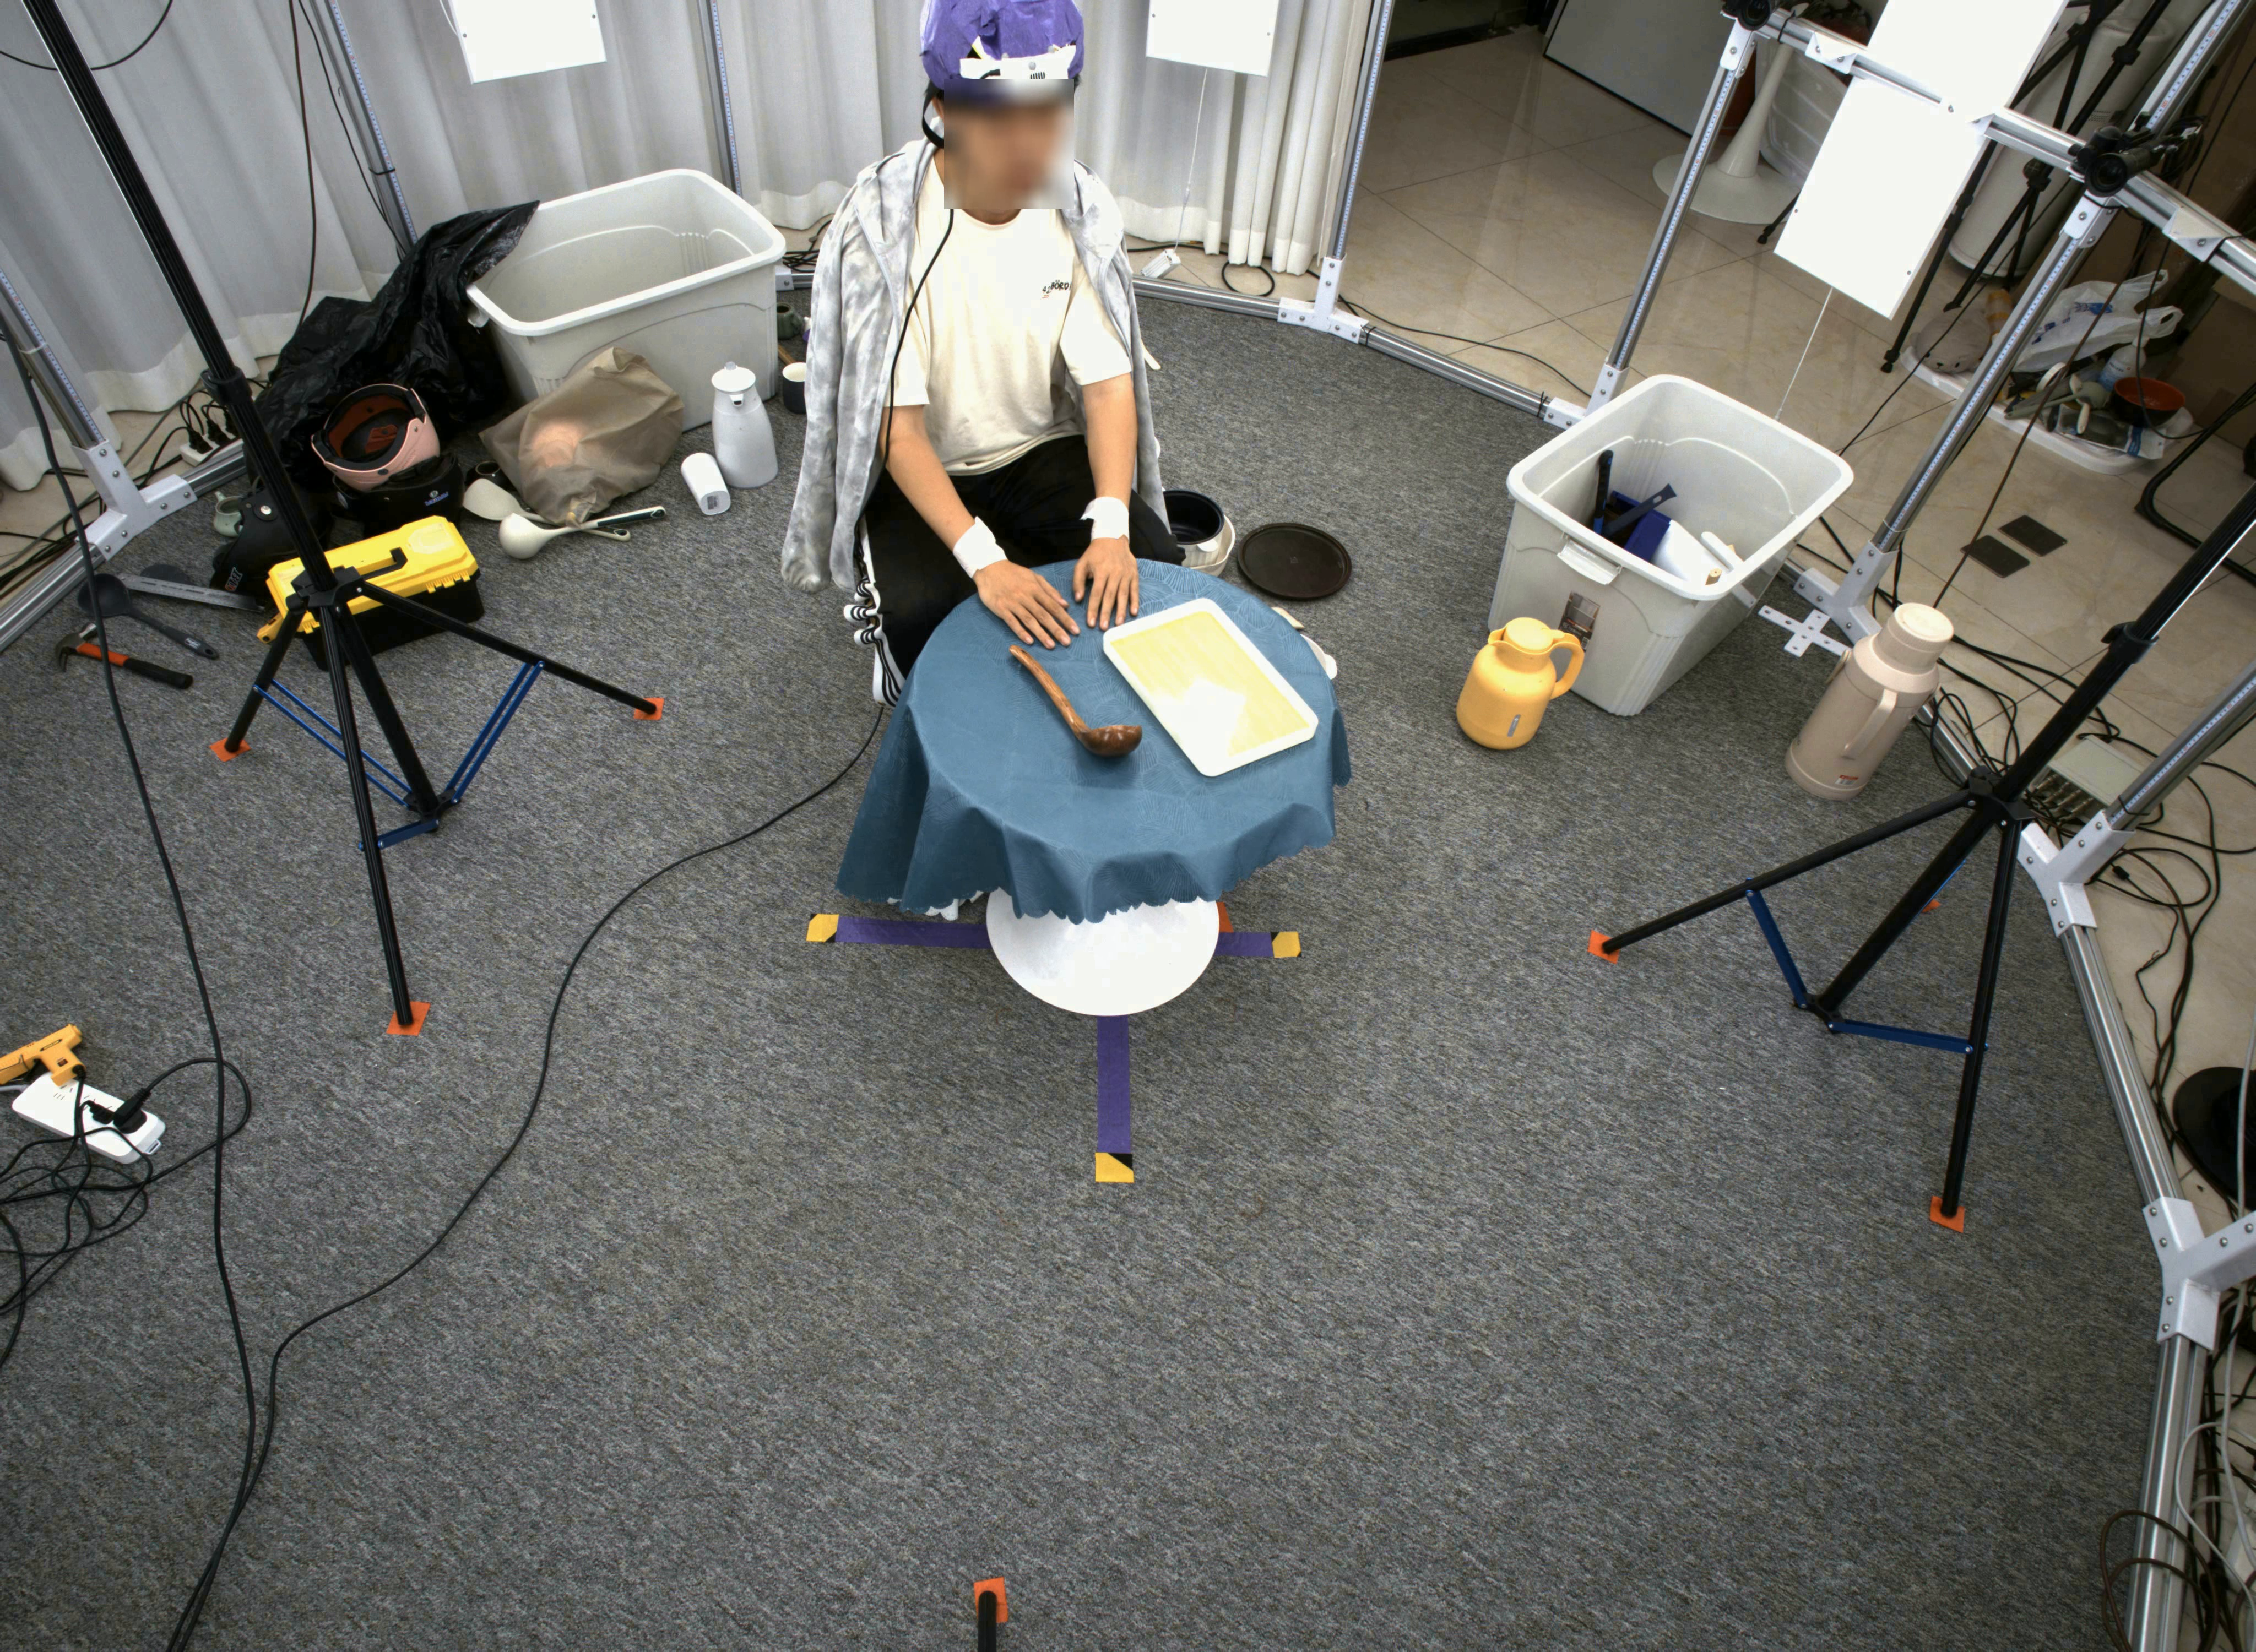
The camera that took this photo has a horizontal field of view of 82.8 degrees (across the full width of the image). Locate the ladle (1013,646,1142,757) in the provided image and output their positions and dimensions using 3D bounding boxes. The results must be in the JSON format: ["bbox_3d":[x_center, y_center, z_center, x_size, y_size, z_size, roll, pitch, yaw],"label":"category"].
[{"bbox_3d":[-0.075,-0.189,1.774,0.081,0.076,0.280,14,32,-48],"label":"ladle"}]

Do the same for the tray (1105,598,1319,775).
[{"bbox_3d":[0.115,-0.205,1.828,0.192,0.027,0.307,-21,53,-21],"label":"tray"}]
